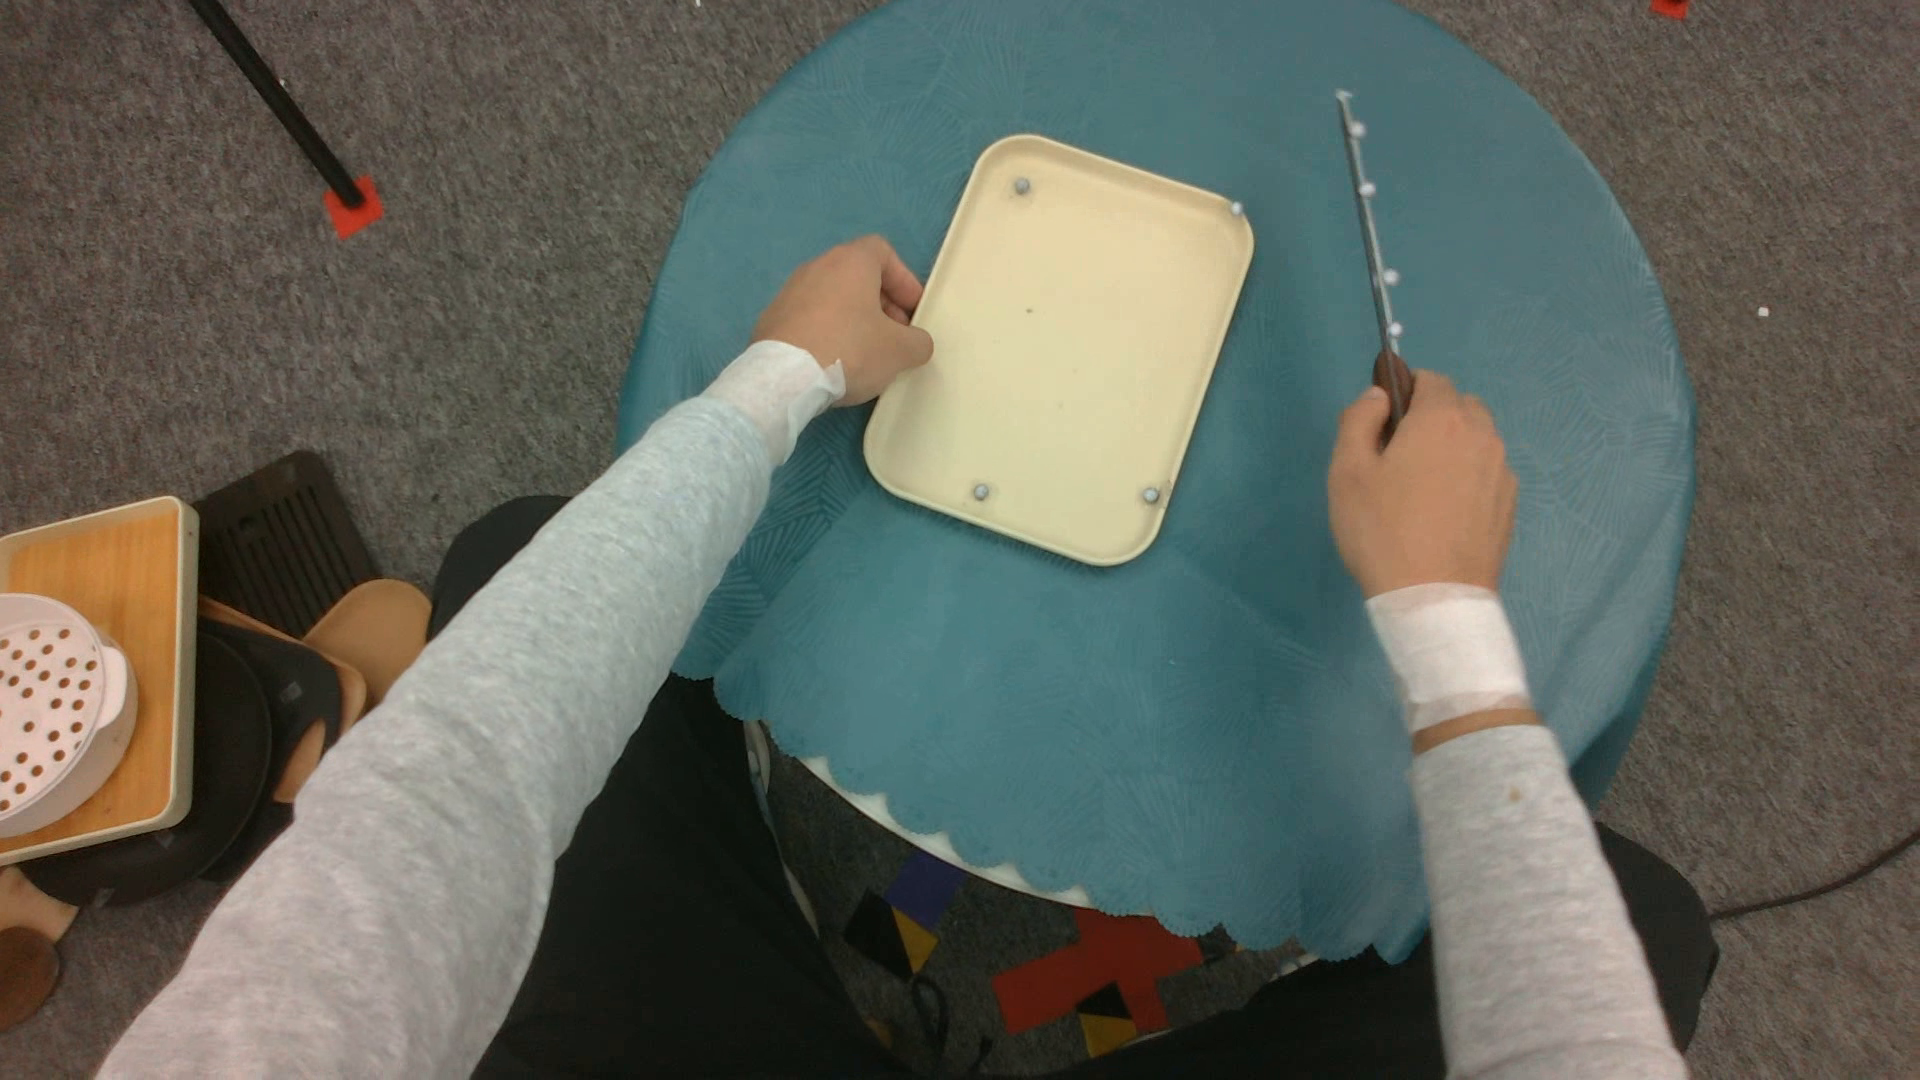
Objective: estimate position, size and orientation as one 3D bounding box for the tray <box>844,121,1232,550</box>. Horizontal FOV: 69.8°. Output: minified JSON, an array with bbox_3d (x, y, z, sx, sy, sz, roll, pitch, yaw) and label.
[{"bbox_3d":[0.047,-0.119,0.780,0.171,0.017,0.240,20,73,4],"label":"tray"}]

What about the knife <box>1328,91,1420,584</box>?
[{"bbox_3d":[0.211,-0.114,0.718,0.020,0.050,0.290,-12,68,27],"label":"knife"}]
